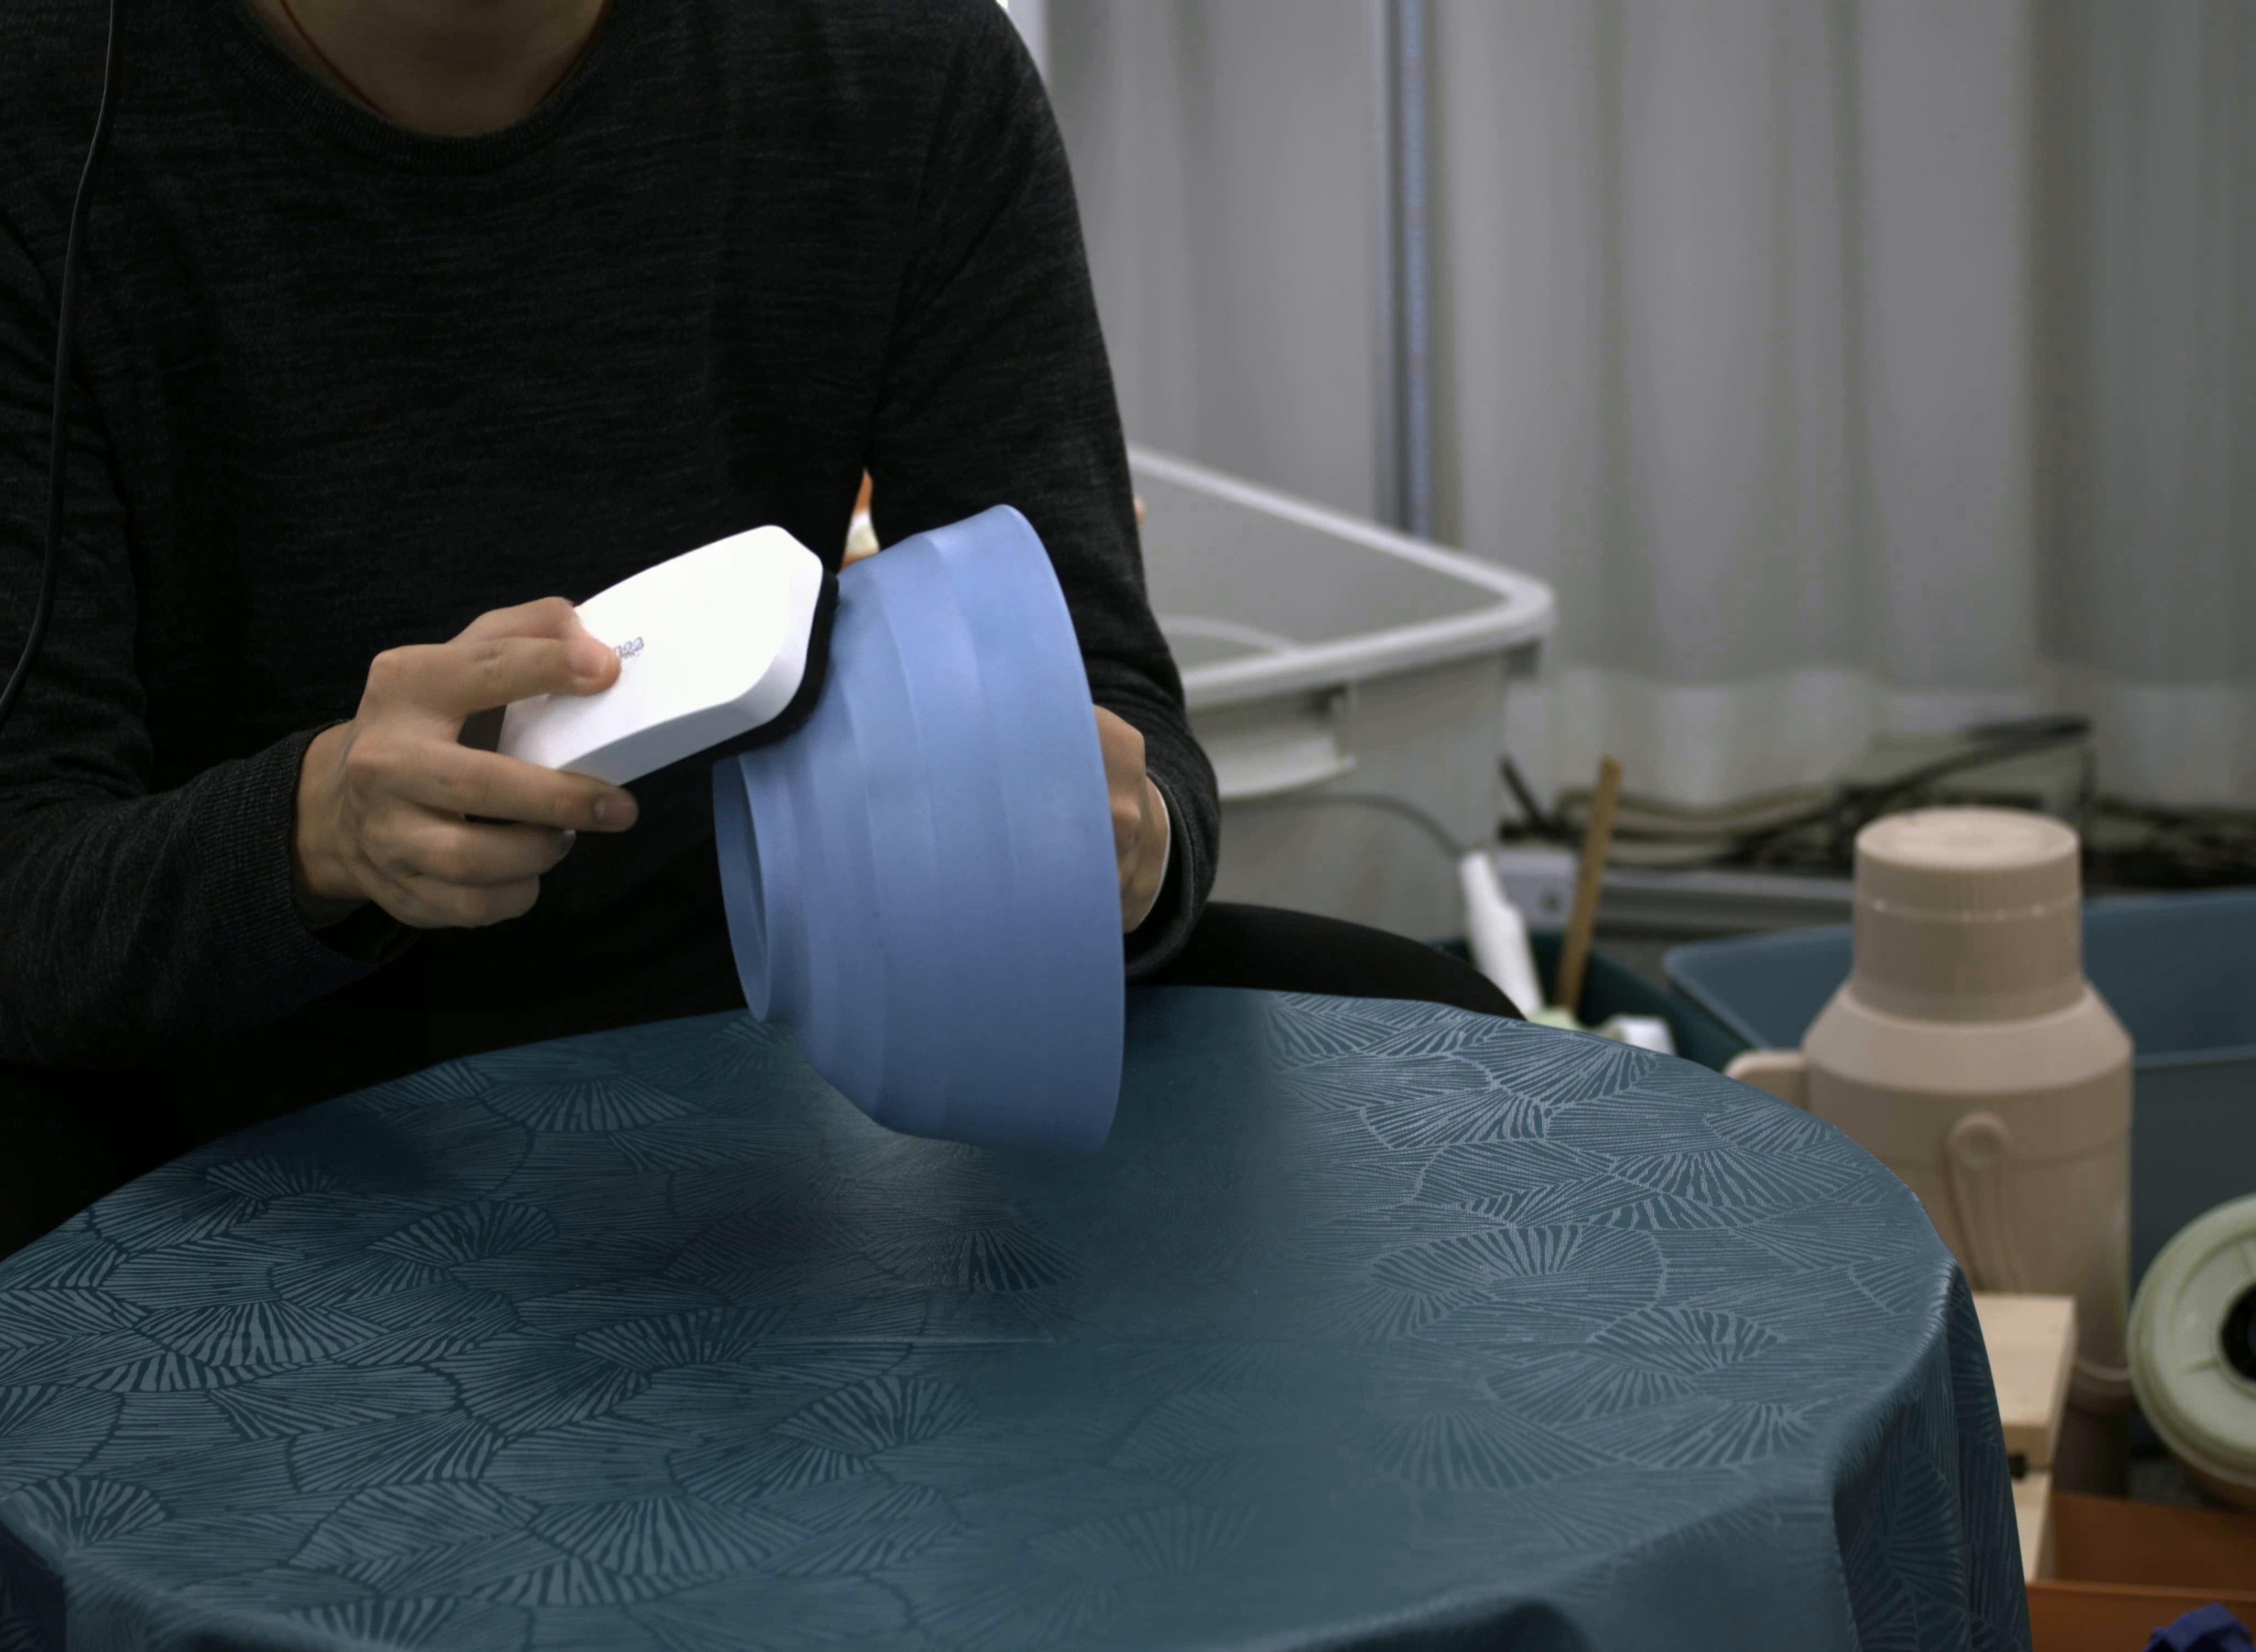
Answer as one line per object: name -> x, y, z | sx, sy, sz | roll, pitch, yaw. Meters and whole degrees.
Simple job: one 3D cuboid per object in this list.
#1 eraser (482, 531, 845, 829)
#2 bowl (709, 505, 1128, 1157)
eraser -> -0.139, -0.044, 1.615 | 0.131, 0.064, 0.034 | -20, -43, 40
bowl -> -0.070, 0.008, 1.627 | 0.095, 0.195, 0.198 | -8, 15, -12
